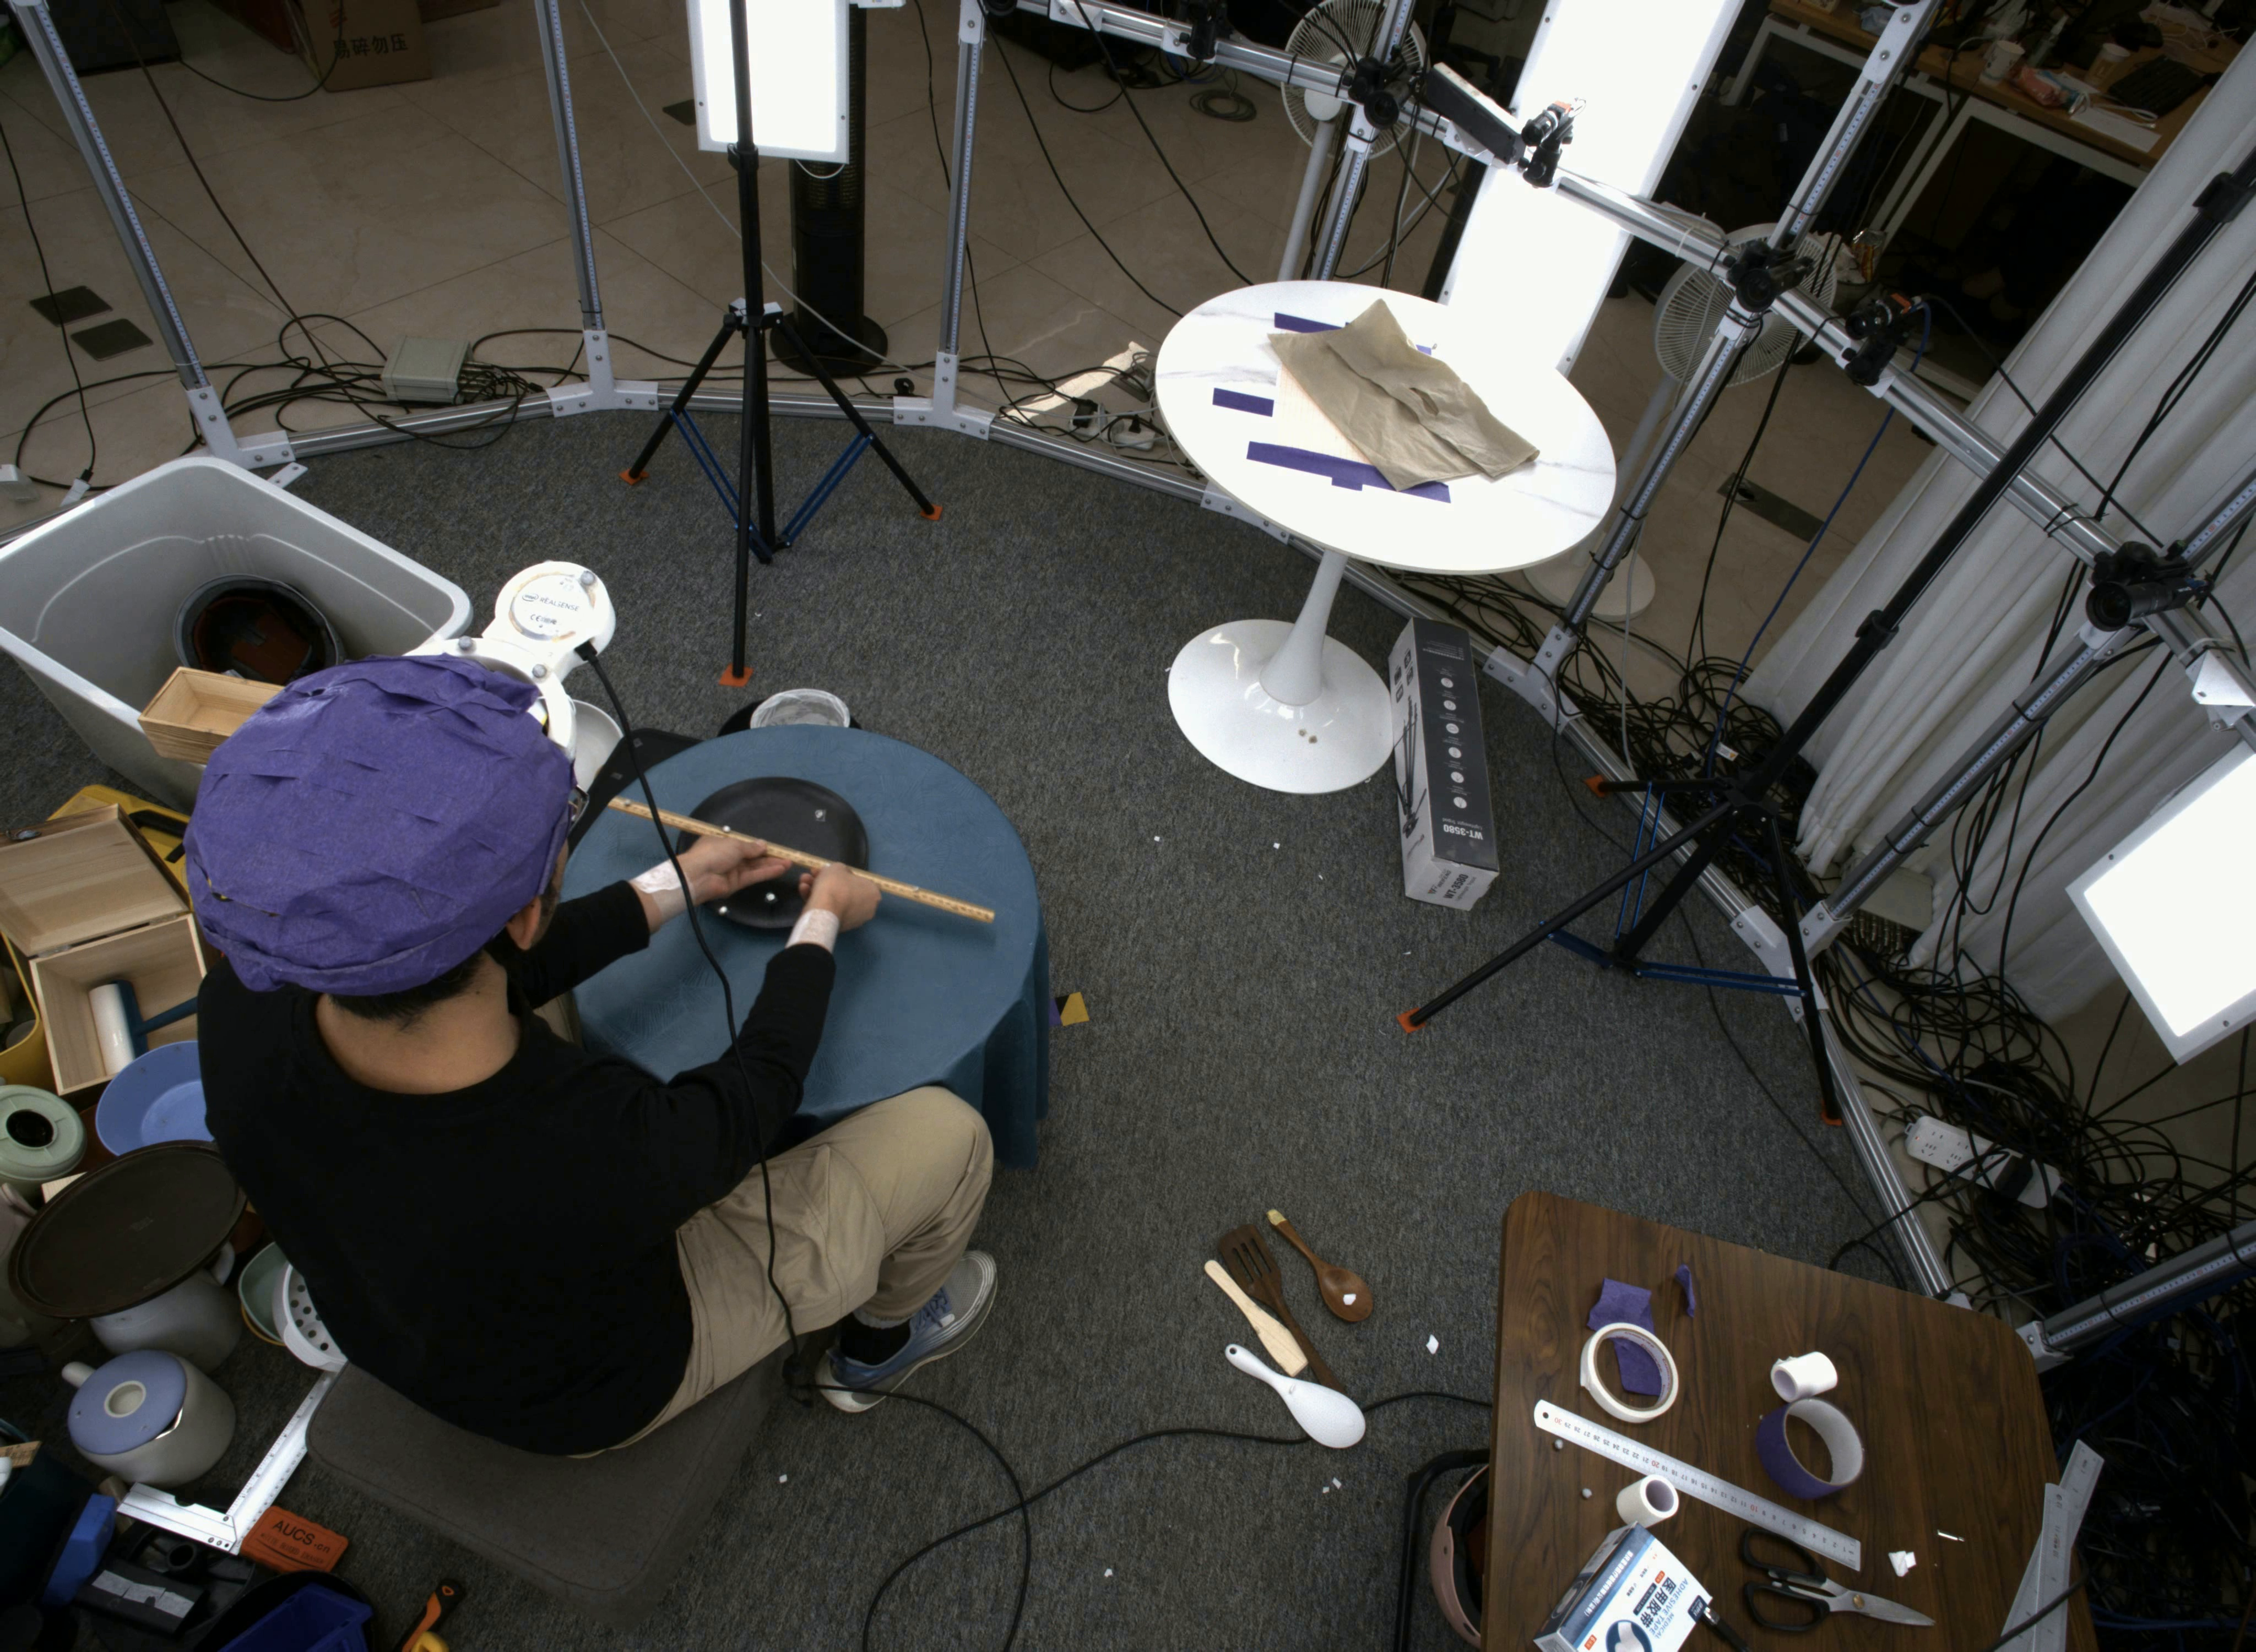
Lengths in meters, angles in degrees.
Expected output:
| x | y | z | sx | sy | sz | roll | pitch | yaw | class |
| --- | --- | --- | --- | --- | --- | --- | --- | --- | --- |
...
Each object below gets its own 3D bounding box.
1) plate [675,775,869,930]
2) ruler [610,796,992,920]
| x | y | z | sx | sy | sz | roll | pitch | yaw | class |
| --- | --- | --- | --- | --- | --- | --- | --- | --- | --- |
| -0.458 | 0.034 | 1.669 | 0.244 | 0.024 | 0.240 | 8 | 53 | -9 | plate |
| -0.412 | 0.039 | 1.629 | 0.499 | 0.006 | 0.026 | 17 | 33 | -6 | ruler |
